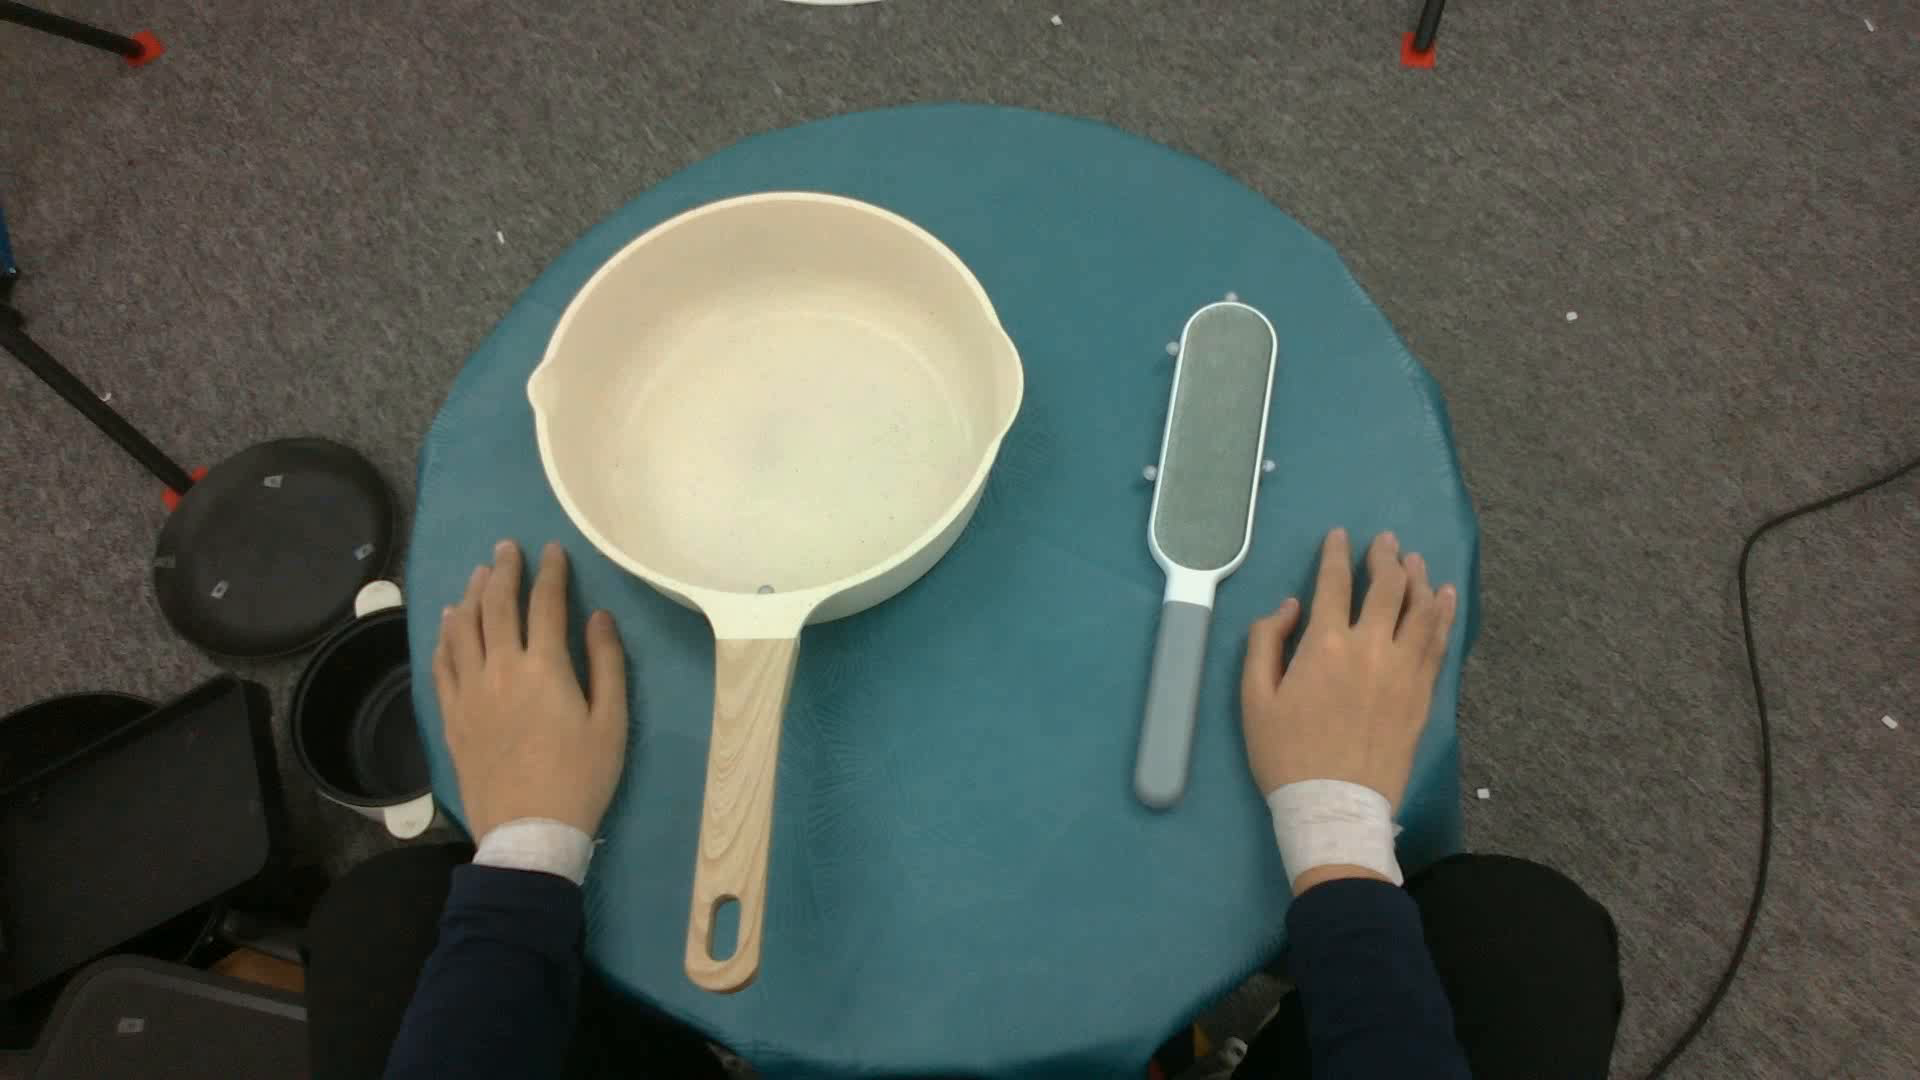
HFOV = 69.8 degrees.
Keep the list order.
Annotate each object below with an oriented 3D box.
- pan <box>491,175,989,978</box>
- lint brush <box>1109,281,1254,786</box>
[{"bbox_3d":[-0.115,0.006,0.719,0.263,0.101,0.436,0,66,-2],"label":"pan"},{"bbox_3d":[0.118,-0.014,0.763,0.060,0.021,0.310,12,66,1],"label":"lint brush"}]
